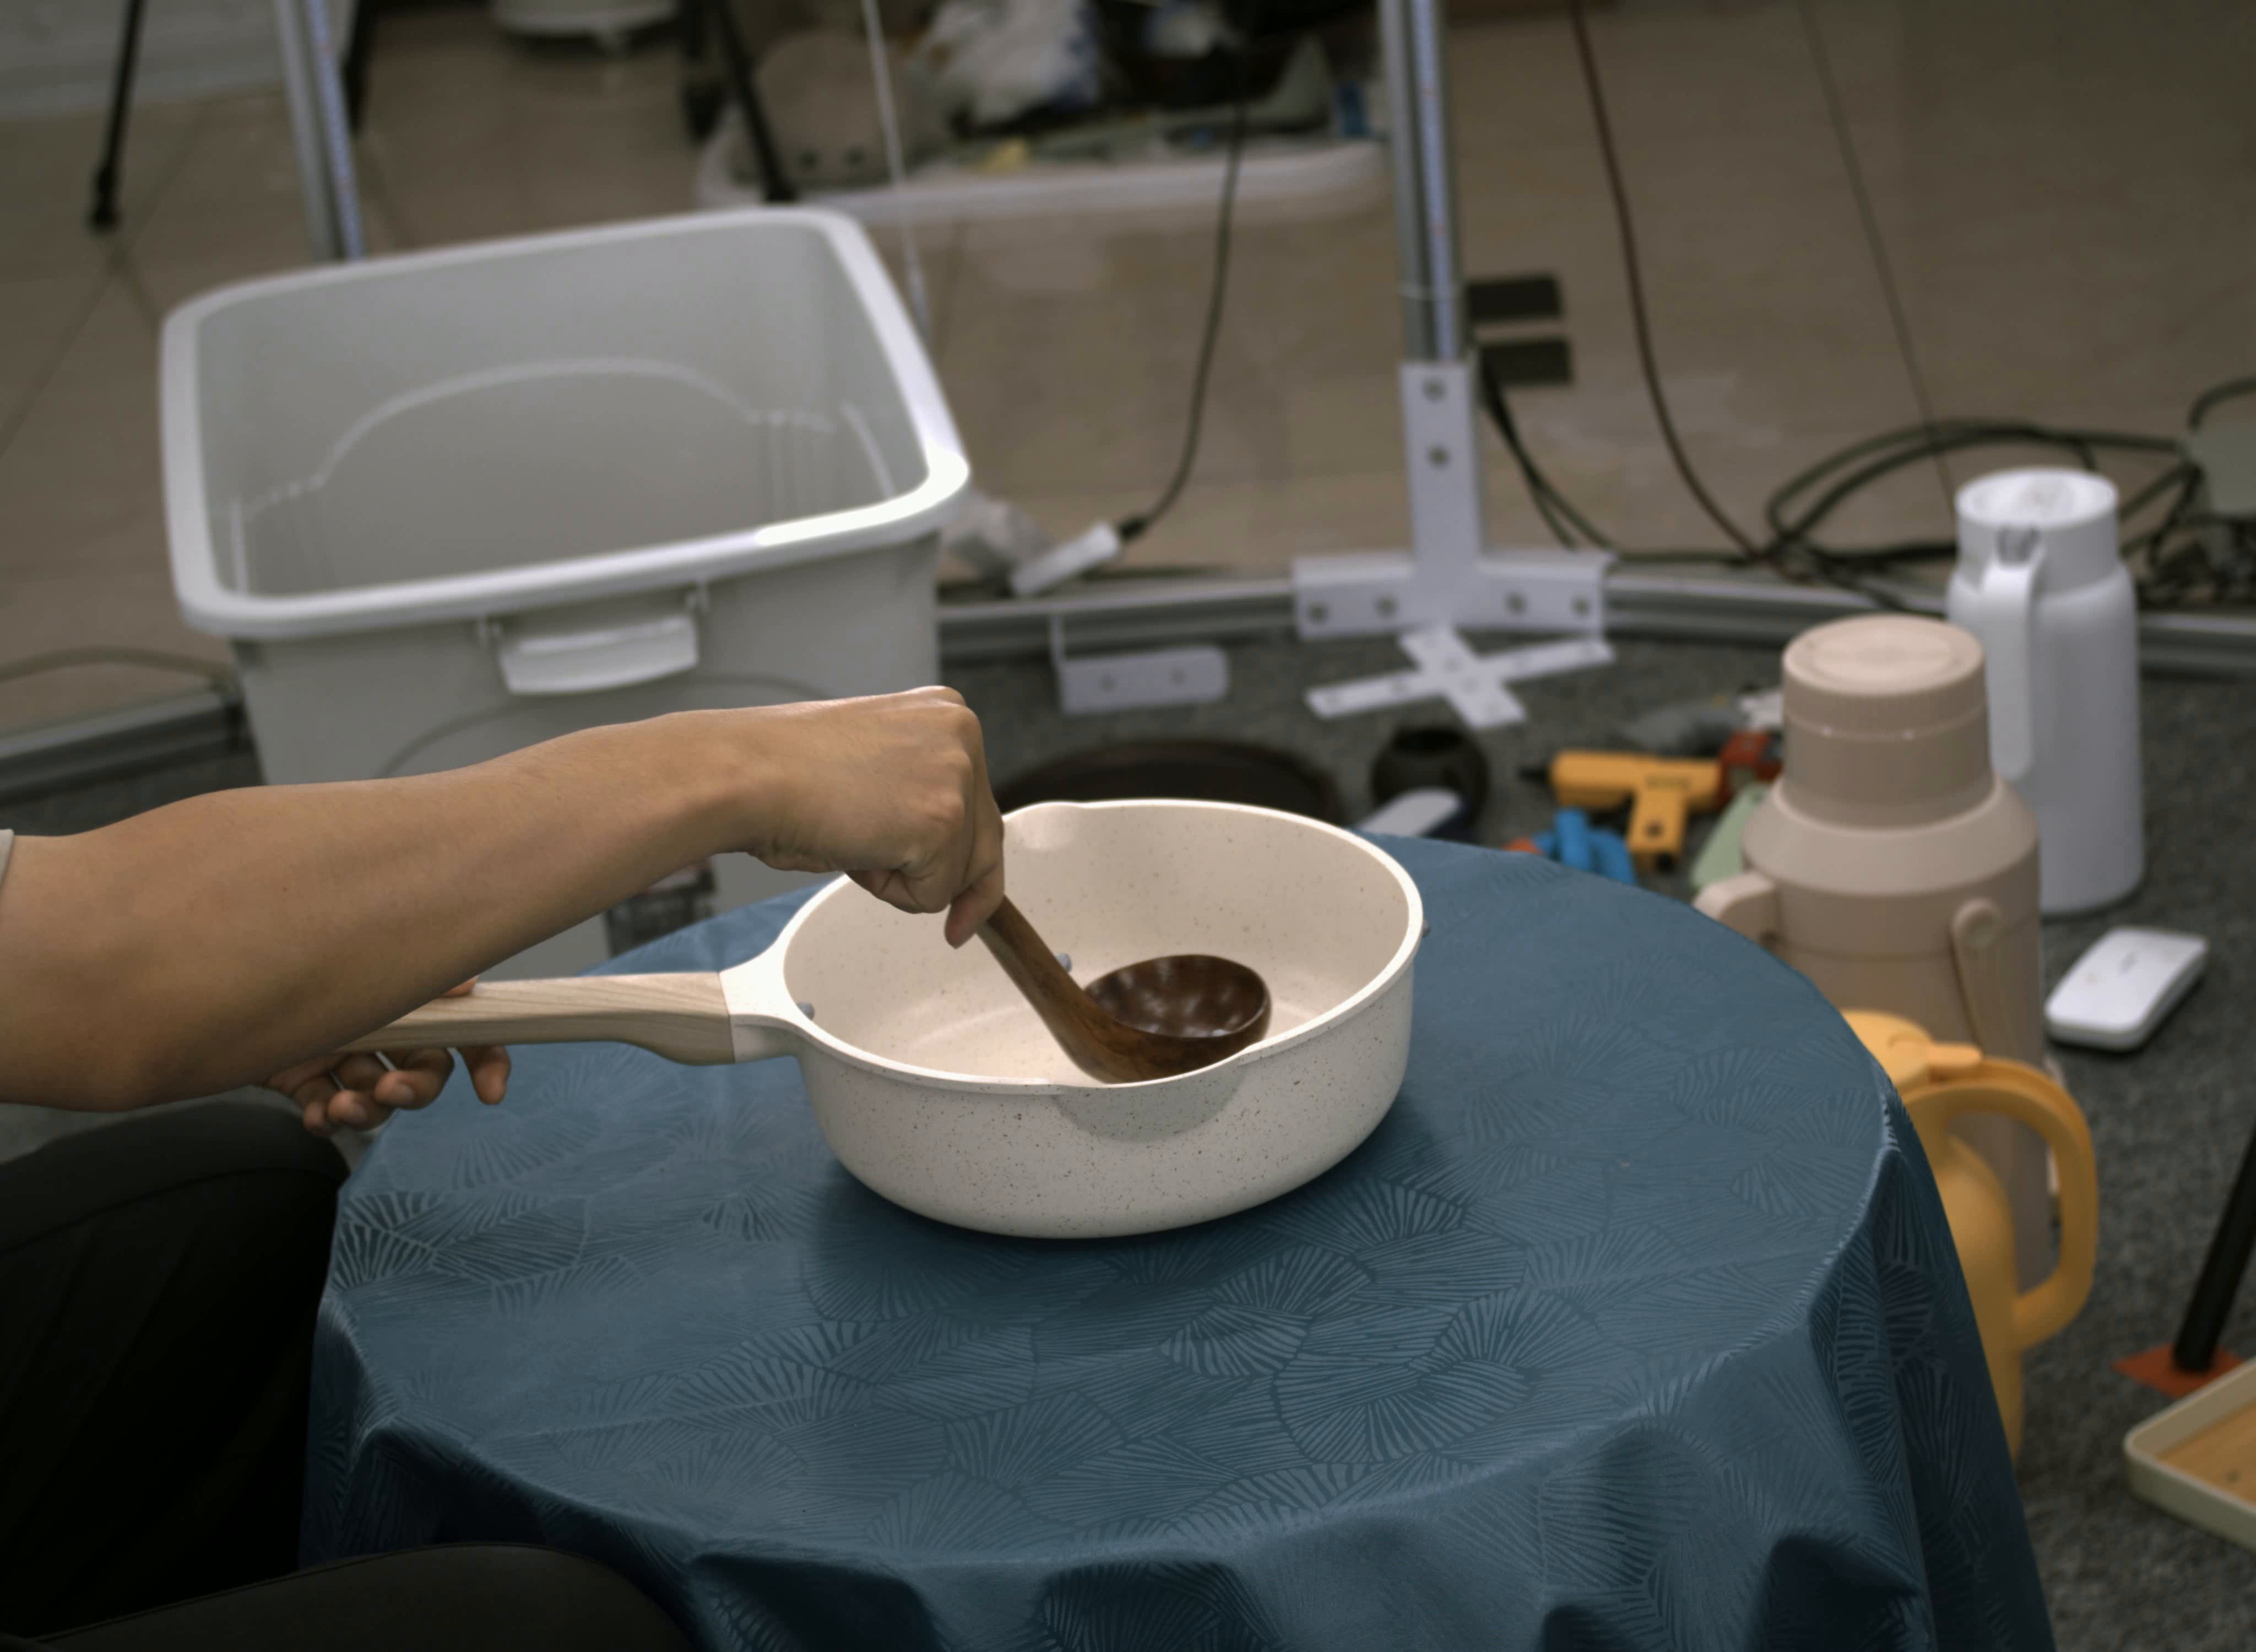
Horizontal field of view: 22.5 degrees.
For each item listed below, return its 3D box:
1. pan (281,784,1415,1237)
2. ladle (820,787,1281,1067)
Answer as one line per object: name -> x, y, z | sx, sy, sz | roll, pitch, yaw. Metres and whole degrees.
pan -> -0.102, 0.083, 2.177 | 0.434, 0.103, 0.259 | -10, 27, -7
ladle -> -0.027, 0.025, 2.066 | 0.082, 0.278, 0.076 | 2, 64, 30
